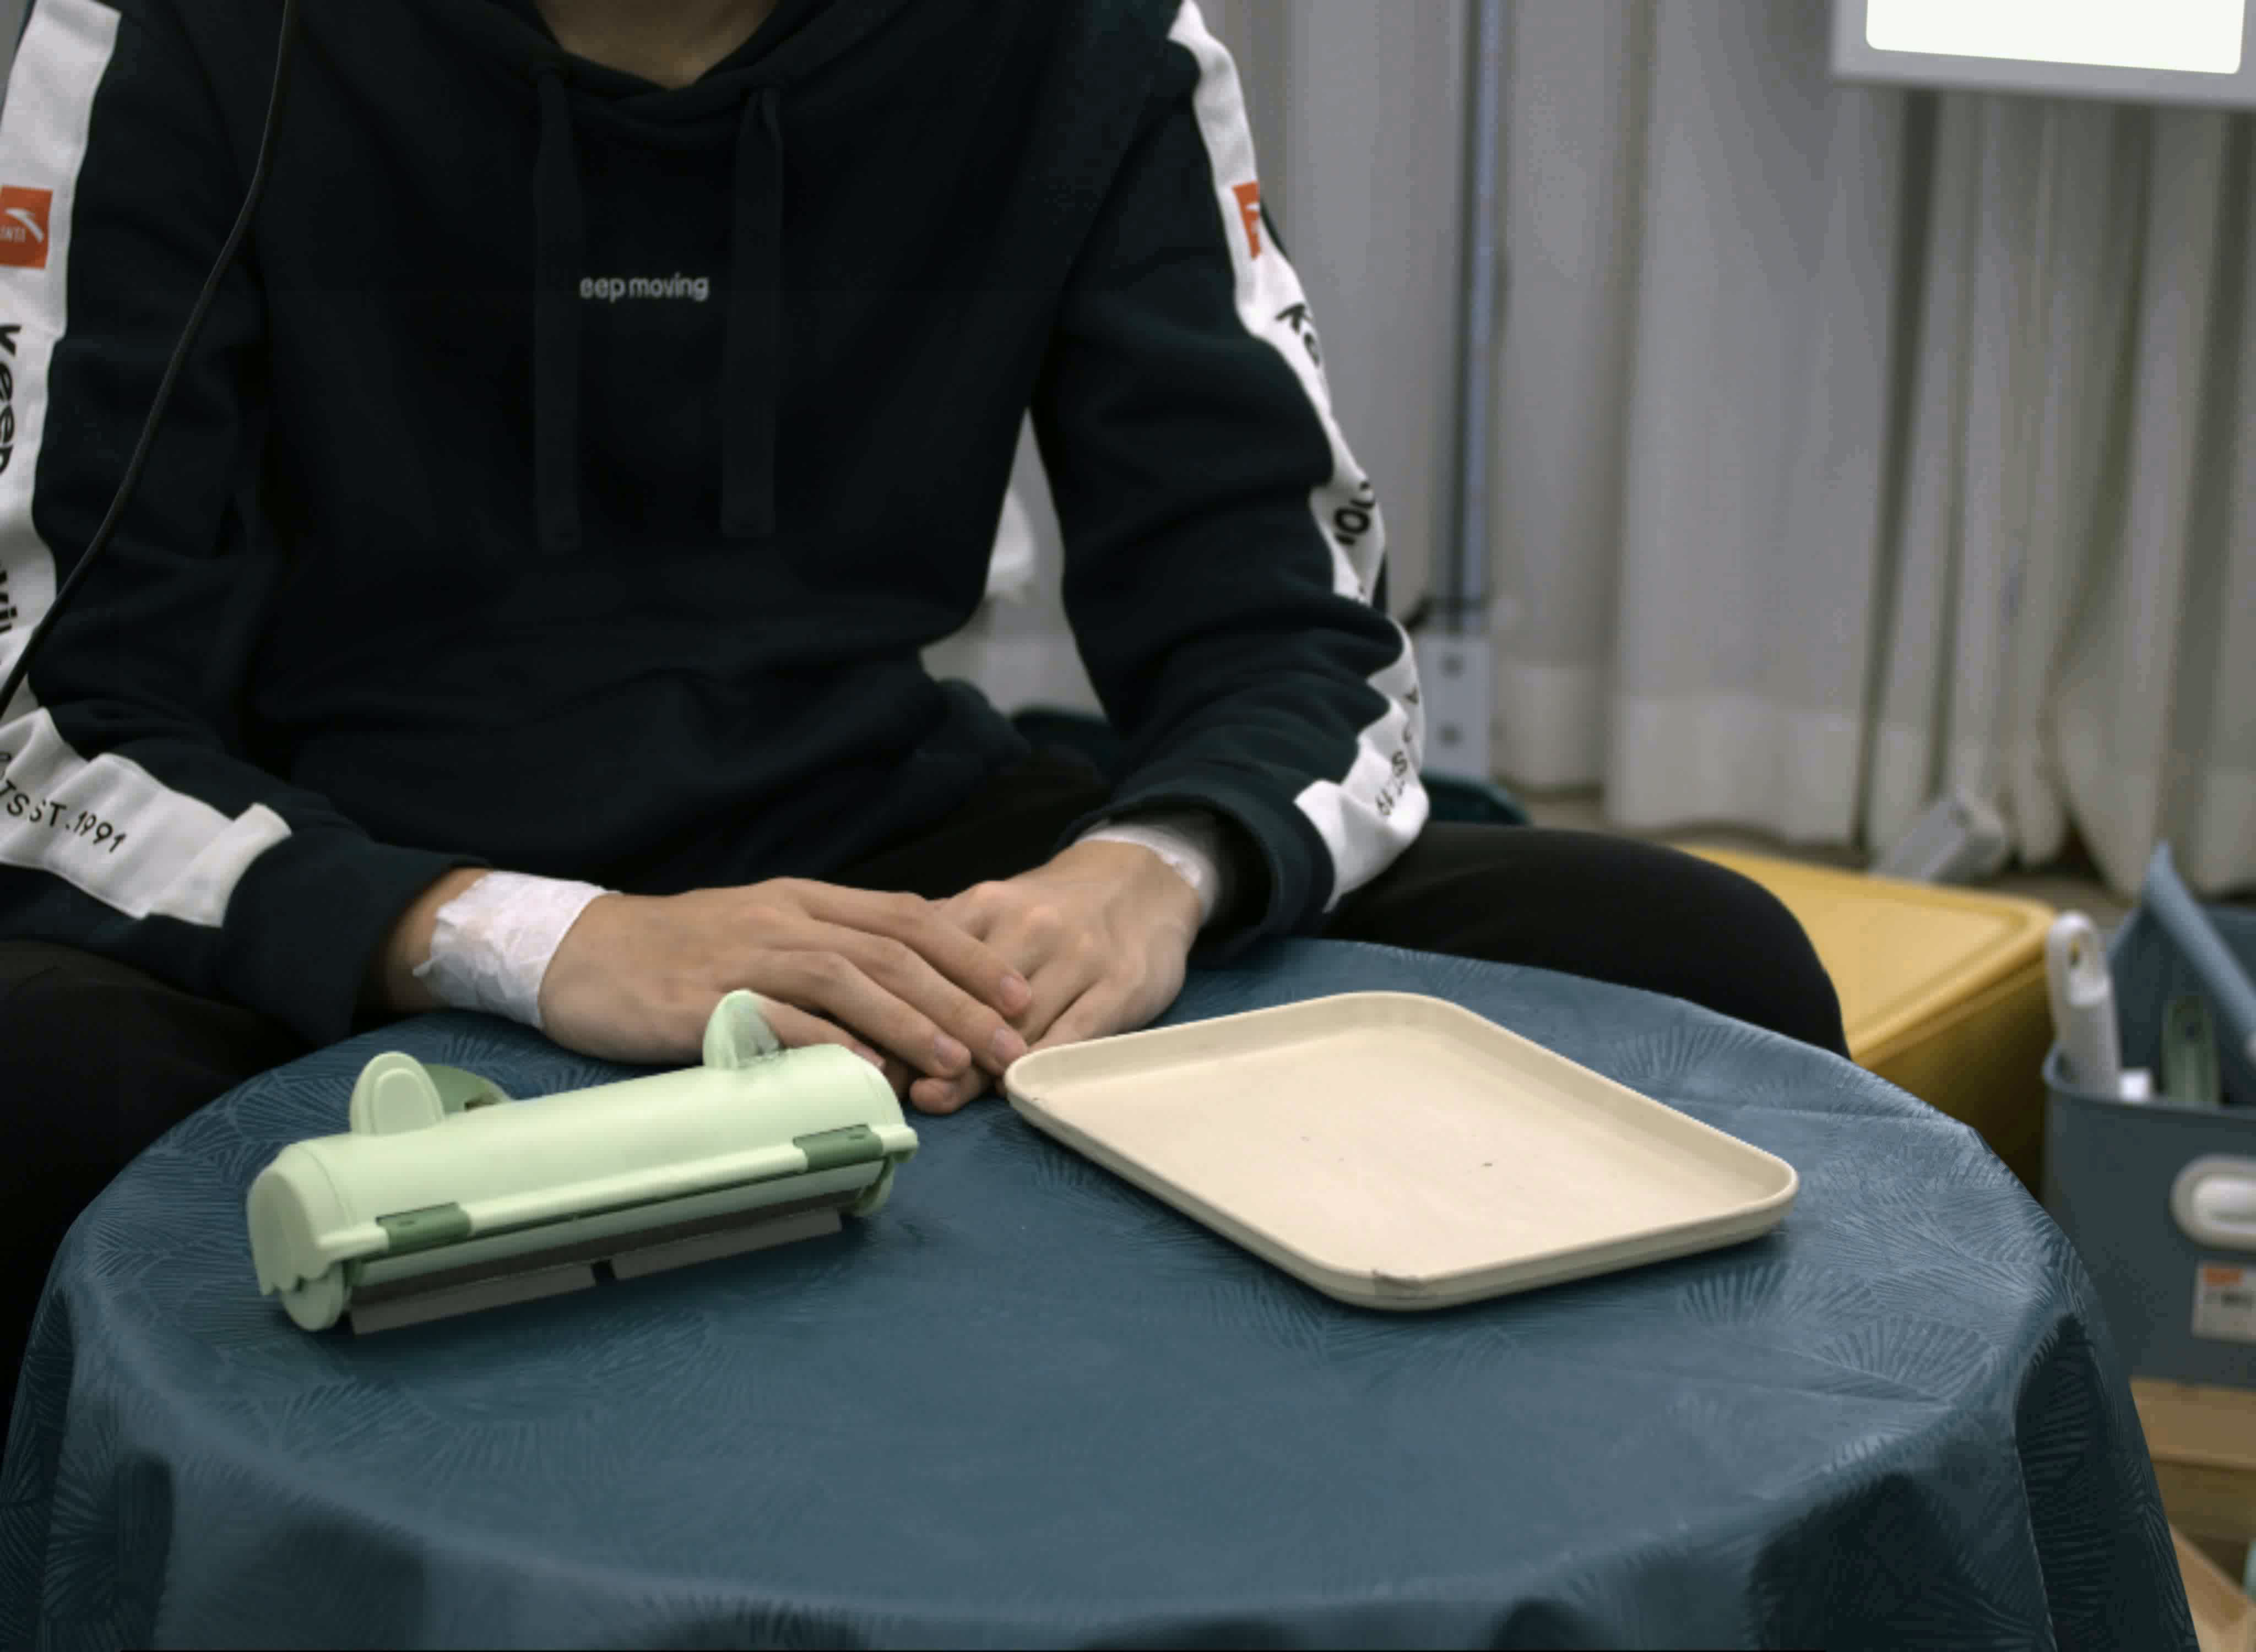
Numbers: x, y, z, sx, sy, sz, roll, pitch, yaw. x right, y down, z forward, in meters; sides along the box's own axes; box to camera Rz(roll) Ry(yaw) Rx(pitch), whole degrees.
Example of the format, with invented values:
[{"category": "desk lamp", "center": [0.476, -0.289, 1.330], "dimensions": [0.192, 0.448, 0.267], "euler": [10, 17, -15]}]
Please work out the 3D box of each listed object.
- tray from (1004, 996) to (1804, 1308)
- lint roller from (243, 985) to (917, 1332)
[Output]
[{"category": "tray", "center": [0.082, 0.100, 1.634], "dimensions": [0.172, 0.017, 0.236], "euler": [-8, 18, -30]}, {"category": "lint roller", "center": [-0.189, 0.082, 1.581], "dimensions": [0.199, 0.083, 0.181], "euler": [-10, 23, -32]}]
